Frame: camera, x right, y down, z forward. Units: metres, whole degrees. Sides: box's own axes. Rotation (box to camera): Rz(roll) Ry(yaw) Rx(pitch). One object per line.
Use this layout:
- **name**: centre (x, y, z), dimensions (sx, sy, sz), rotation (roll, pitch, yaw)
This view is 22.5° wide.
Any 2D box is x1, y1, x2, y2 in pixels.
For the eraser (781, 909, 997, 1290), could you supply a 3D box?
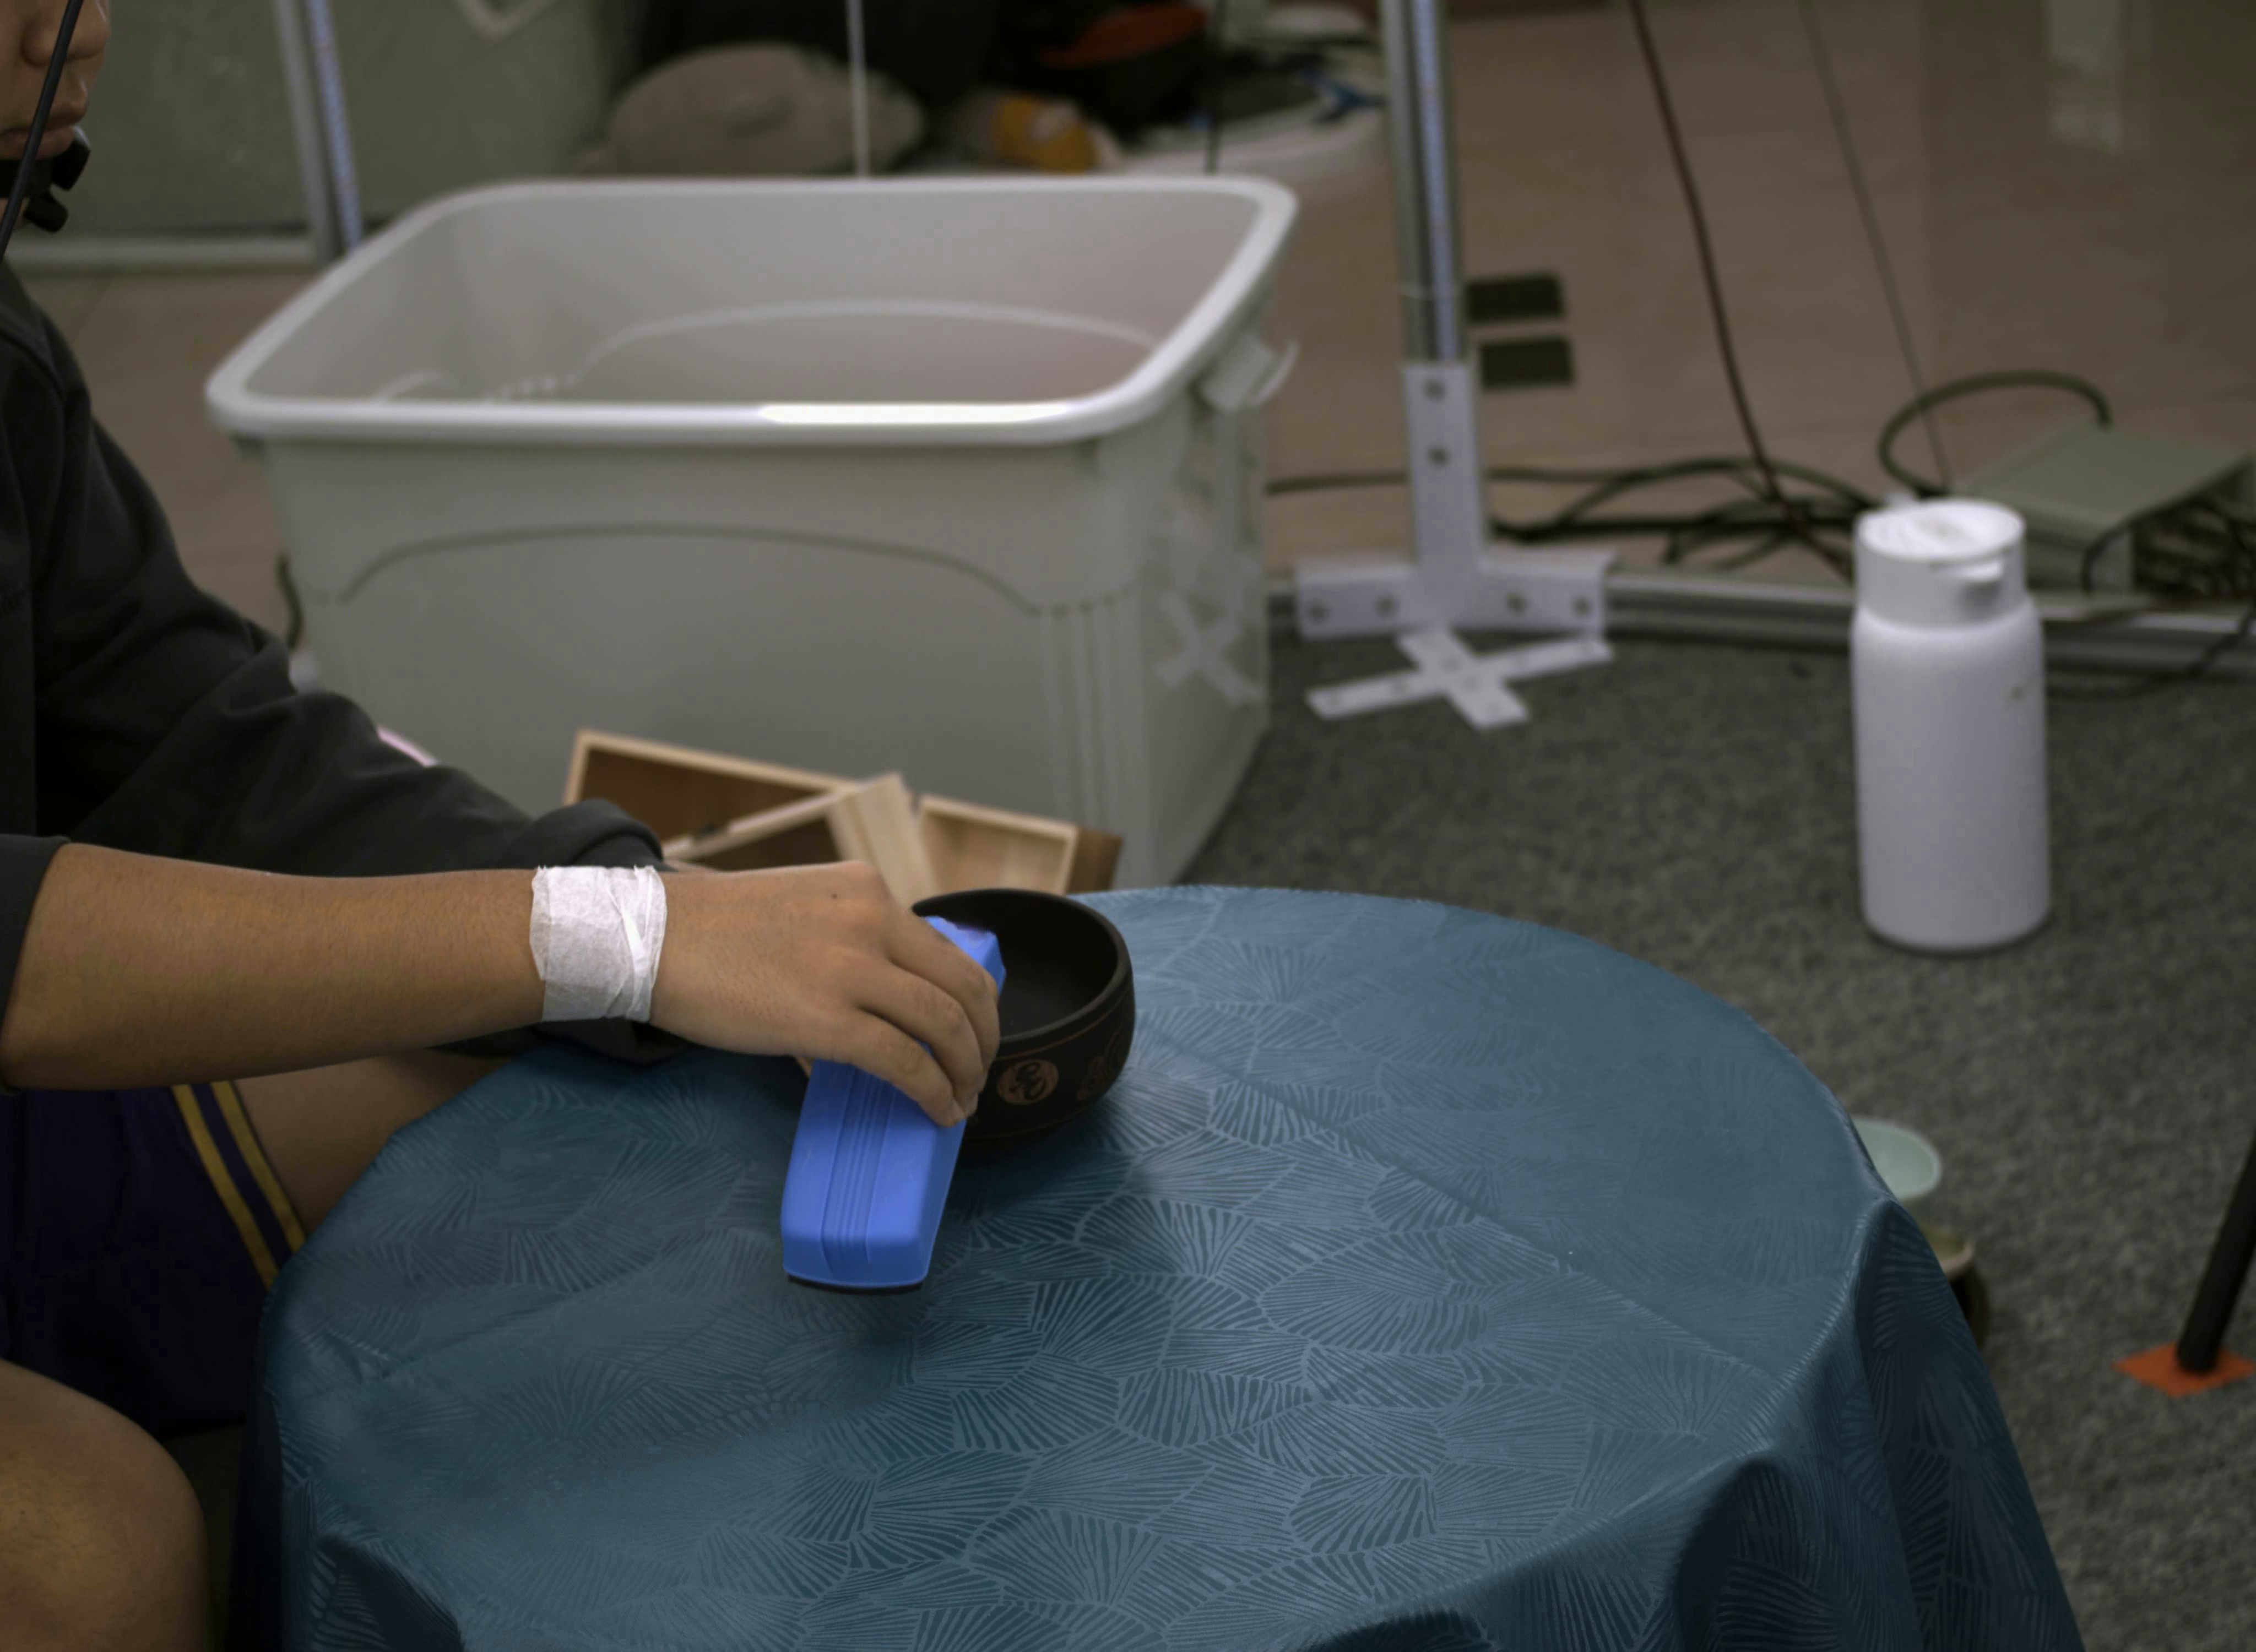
- **eraser**: centre (-0.087, 0.094, 2.072), dimensions (0.054, 0.048, 0.159), rotation (6, 48, 7)

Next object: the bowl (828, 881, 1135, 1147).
- **bowl**: centre (-0.055, 0.080, 2.192), dimensions (0.118, 0.071, 0.116), rotation (-4, 33, 3)
